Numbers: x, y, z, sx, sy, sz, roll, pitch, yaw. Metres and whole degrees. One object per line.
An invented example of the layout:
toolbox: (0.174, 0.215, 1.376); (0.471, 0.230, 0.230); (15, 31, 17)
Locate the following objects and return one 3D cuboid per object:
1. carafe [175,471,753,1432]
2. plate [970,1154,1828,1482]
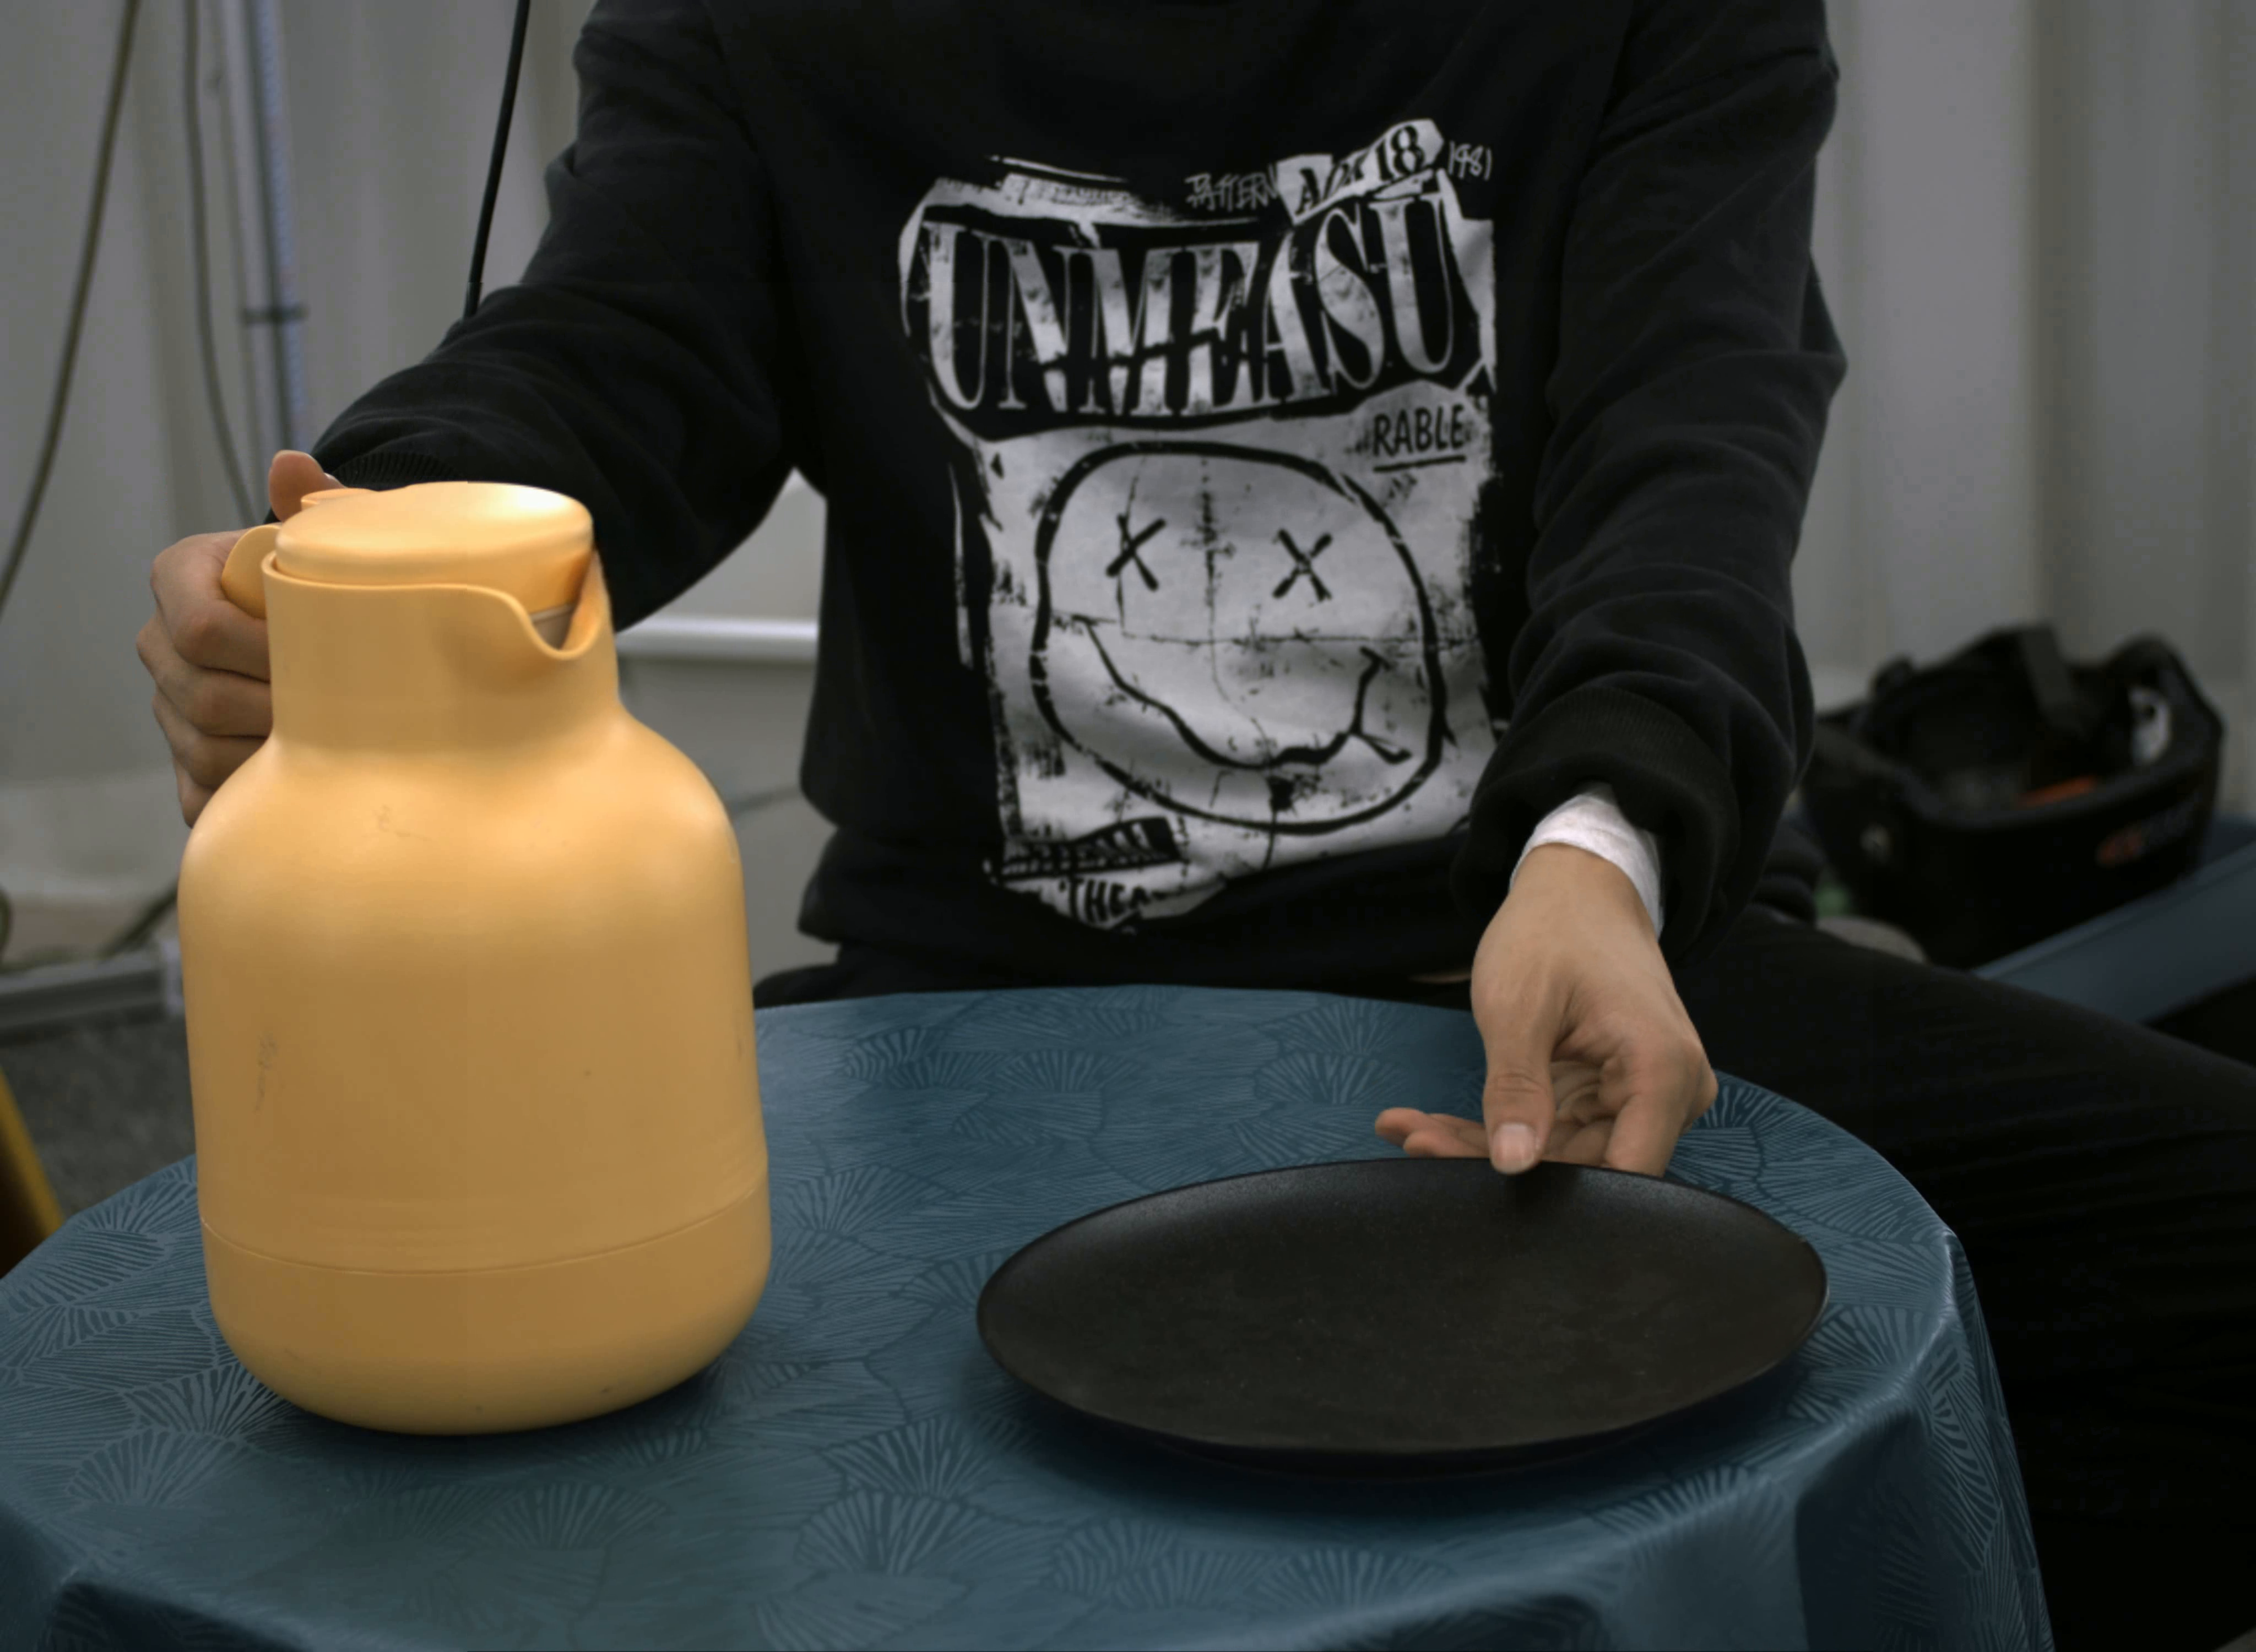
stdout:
carafe: (-0.199, 0.027, 1.574); (0.163, 0.259, 0.204); (-8, 17, -32)
plate: (0.077, 0.142, 1.551); (0.243, 0.023, 0.246); (-3, 15, 0)
